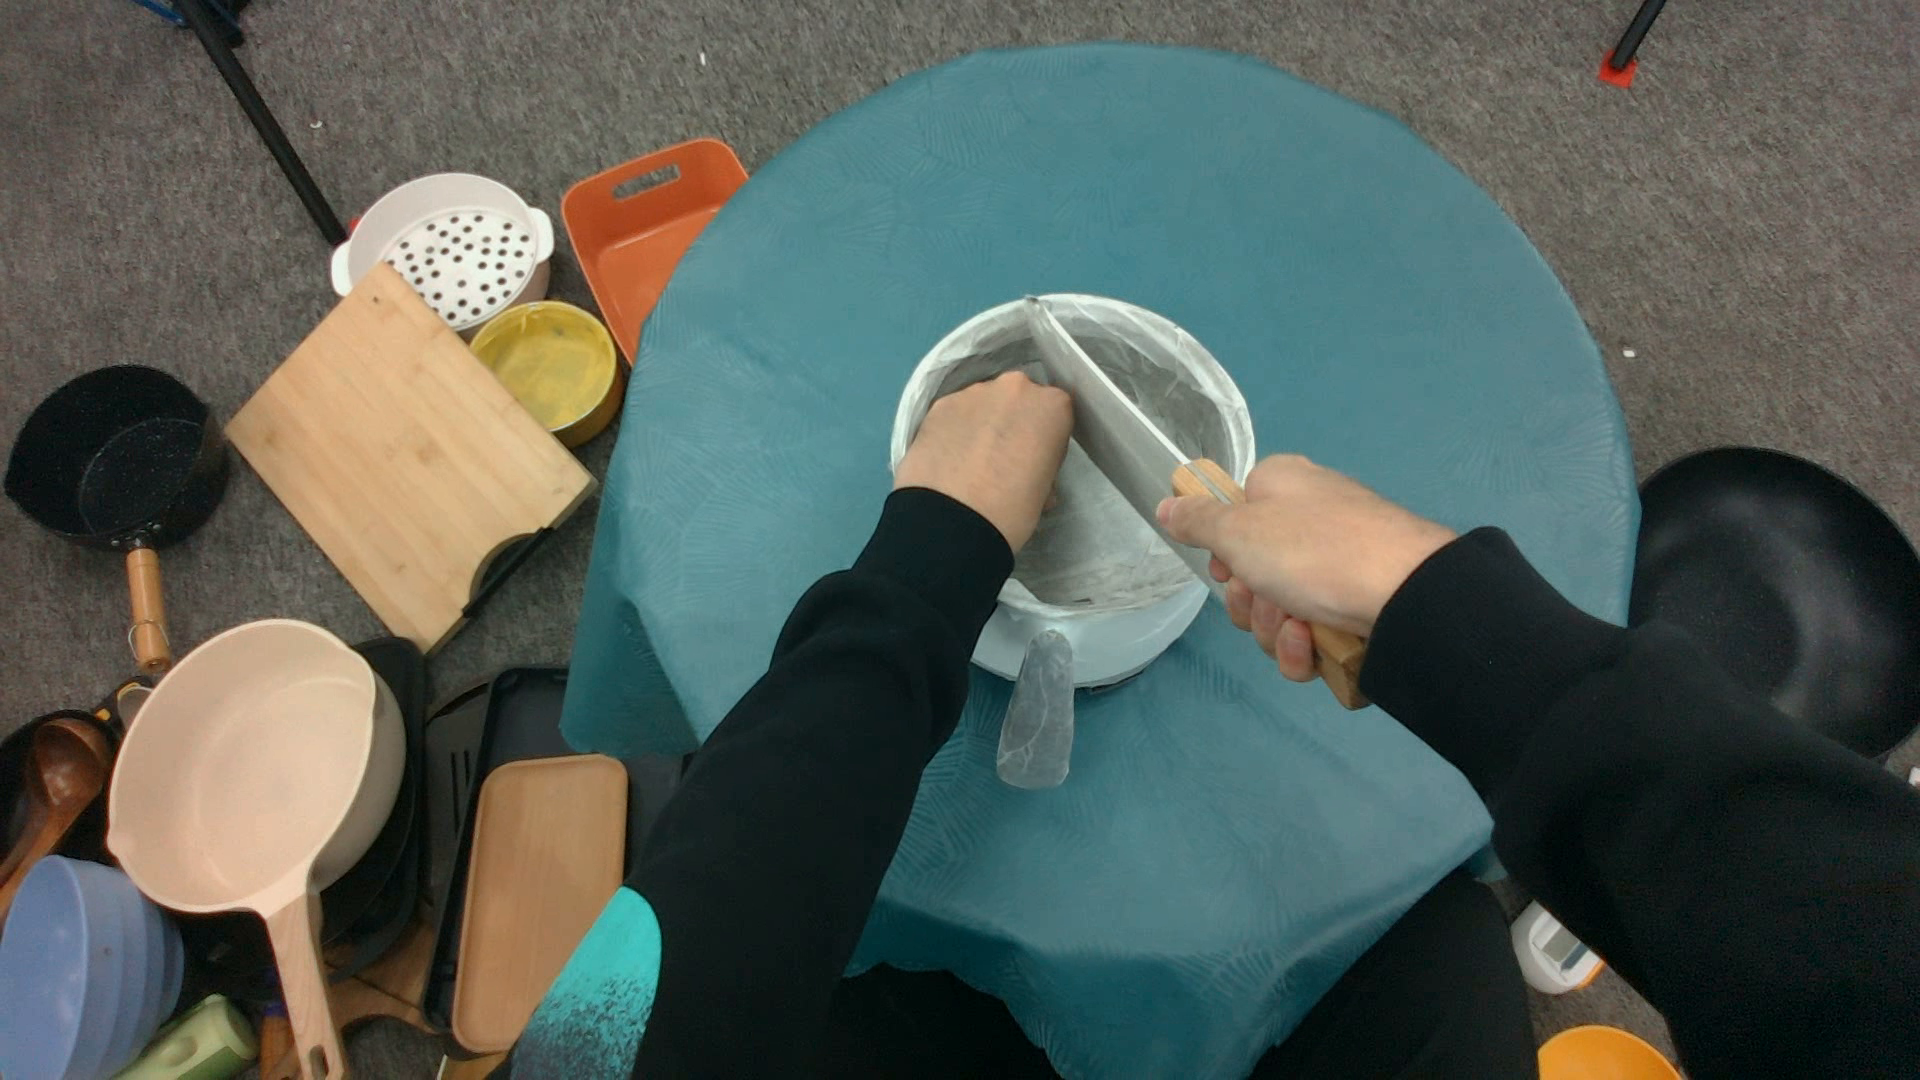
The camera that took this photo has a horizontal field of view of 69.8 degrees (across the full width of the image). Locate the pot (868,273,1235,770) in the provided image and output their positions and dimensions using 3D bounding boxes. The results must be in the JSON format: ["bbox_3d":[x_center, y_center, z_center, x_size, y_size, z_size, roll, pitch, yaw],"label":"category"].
[{"bbox_3d":[0.040,-0.005,0.712,0.179,0.136,0.234,6,66,2],"label":"pot"}]

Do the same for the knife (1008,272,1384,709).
[{"bbox_3d":[0.086,-0.029,0.600,0.022,0.113,0.316,-28,35,-5],"label":"knife"}]
